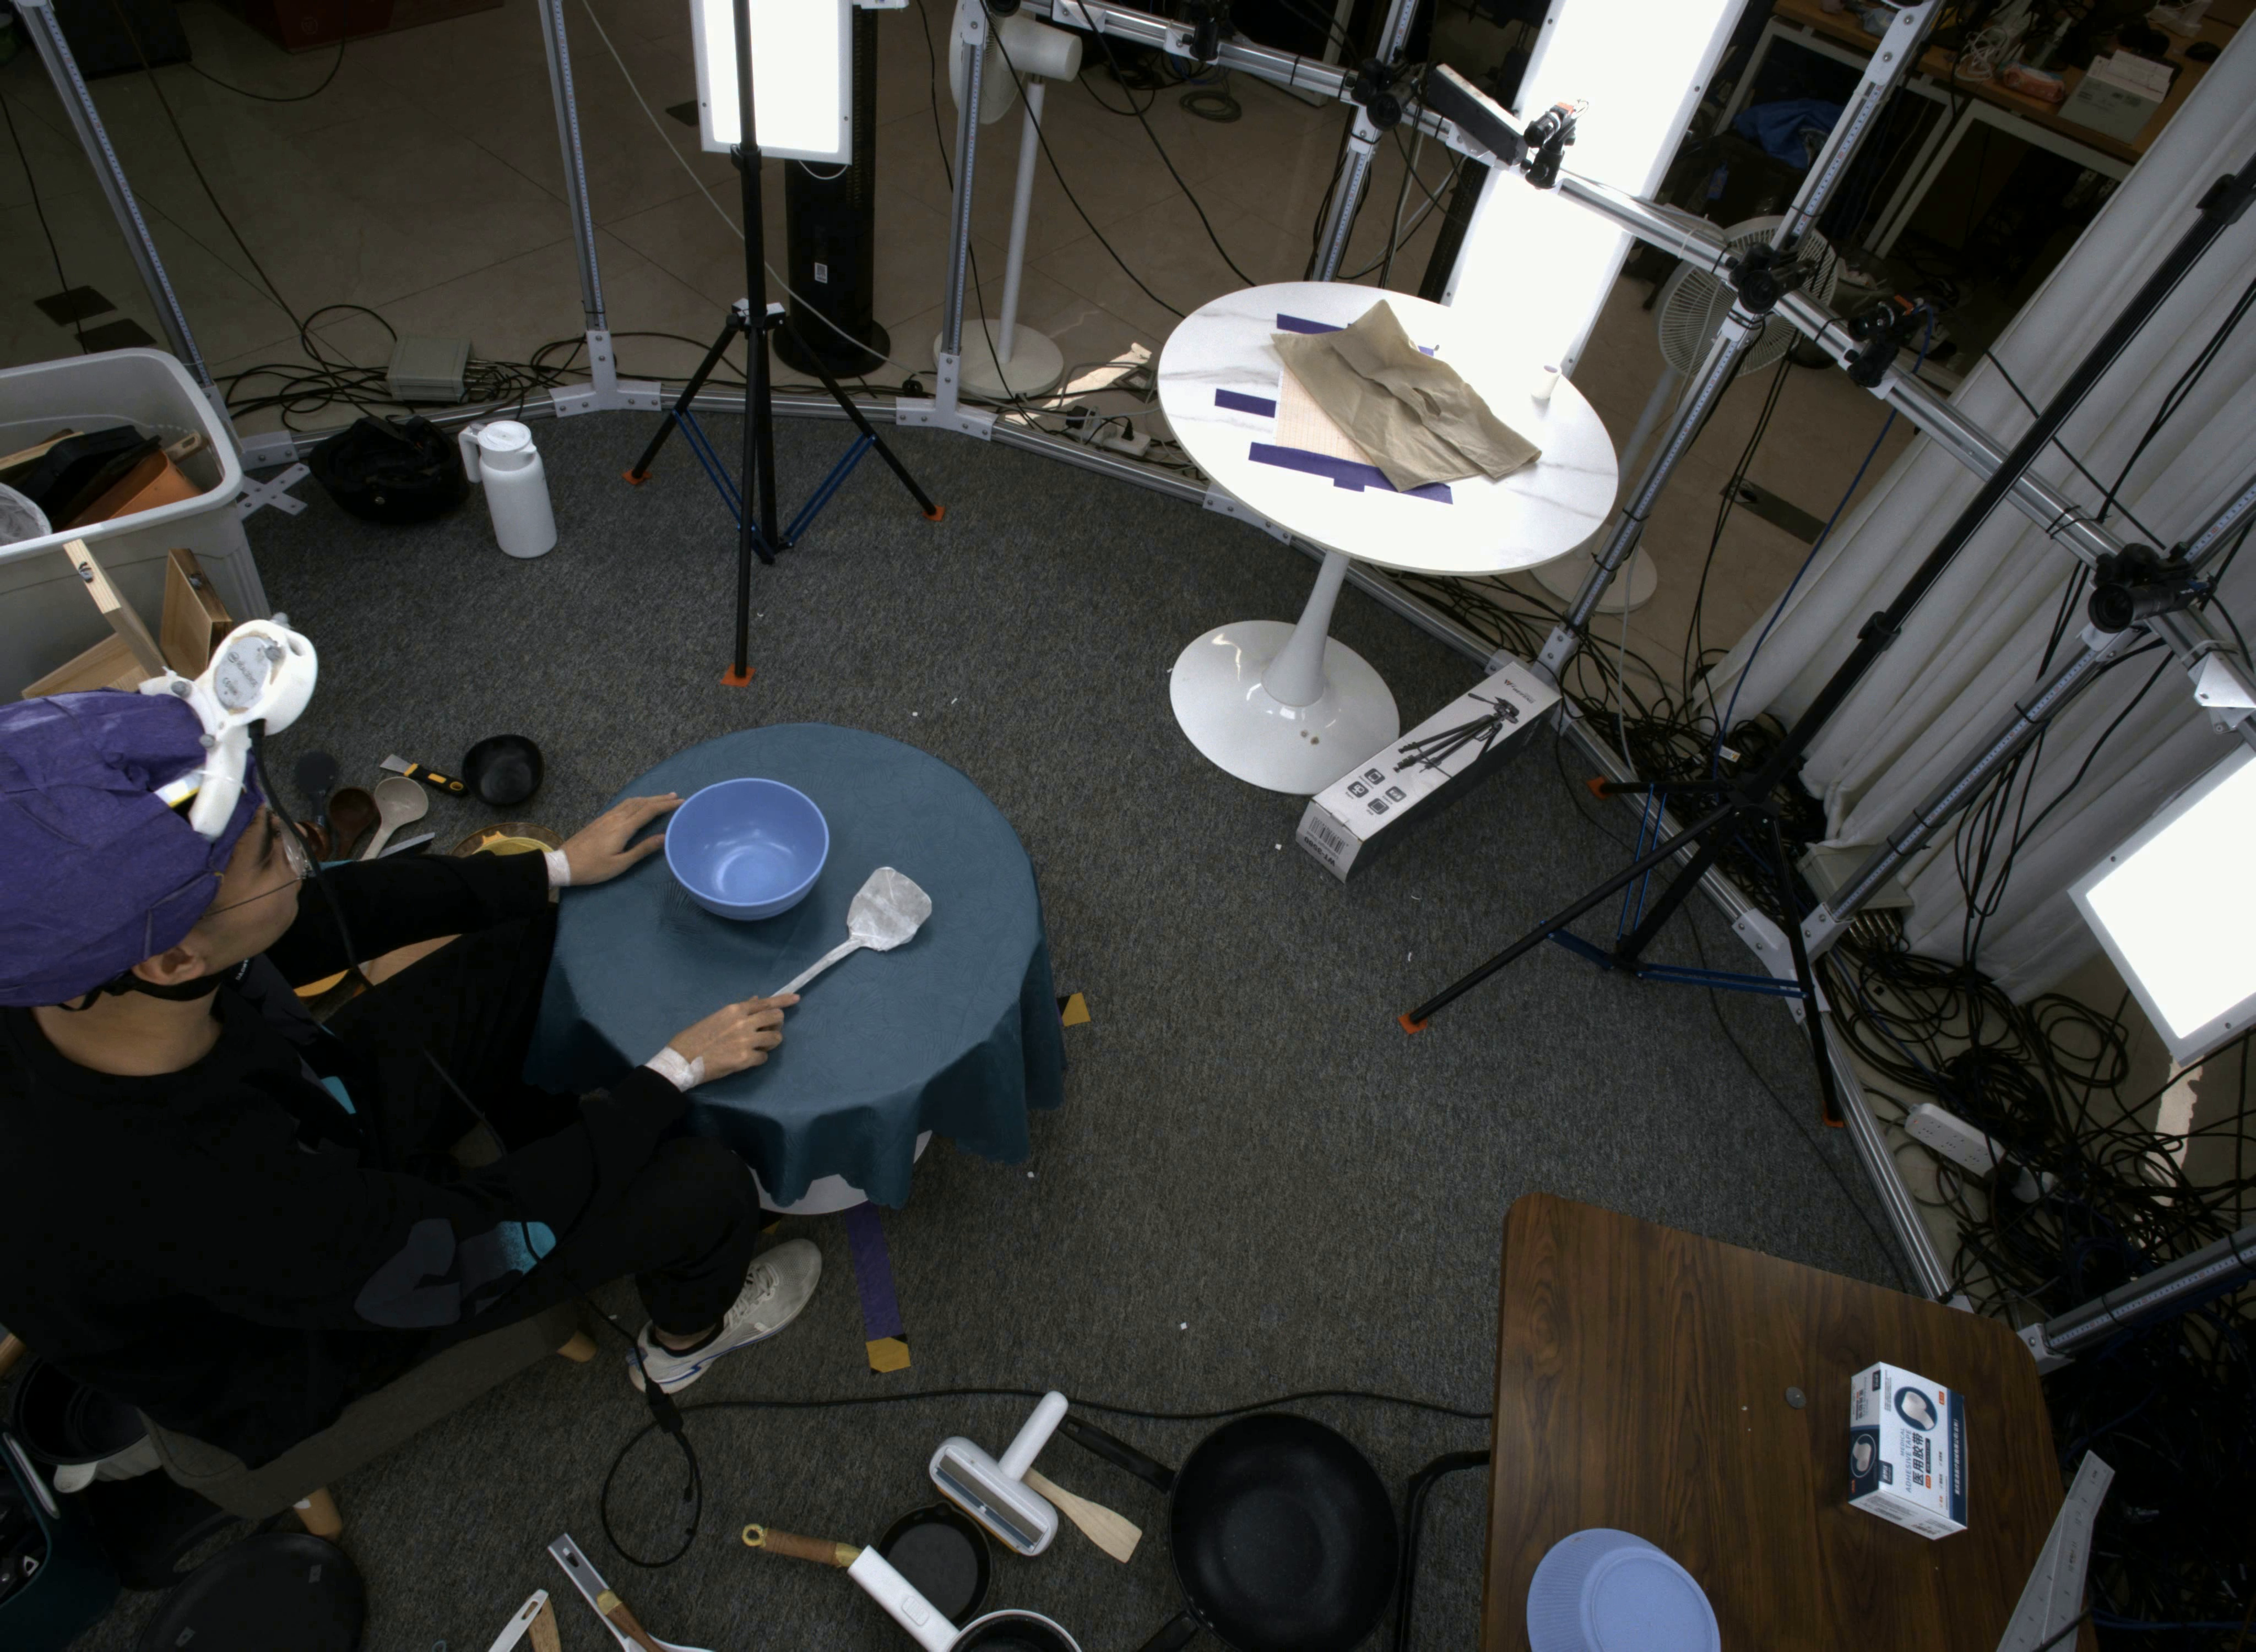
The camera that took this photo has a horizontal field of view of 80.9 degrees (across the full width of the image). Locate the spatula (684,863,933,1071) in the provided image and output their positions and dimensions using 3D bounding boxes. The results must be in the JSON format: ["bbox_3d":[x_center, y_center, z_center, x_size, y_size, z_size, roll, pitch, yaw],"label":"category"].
[{"bbox_3d":[-0.392,0.176,1.582,0.097,0.045,0.365,40,54,15],"label":"spatula"}]

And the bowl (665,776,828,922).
[{"bbox_3d":[-0.475,0.043,1.623,0.196,0.097,0.193,8,53,-9],"label":"bowl"}]
